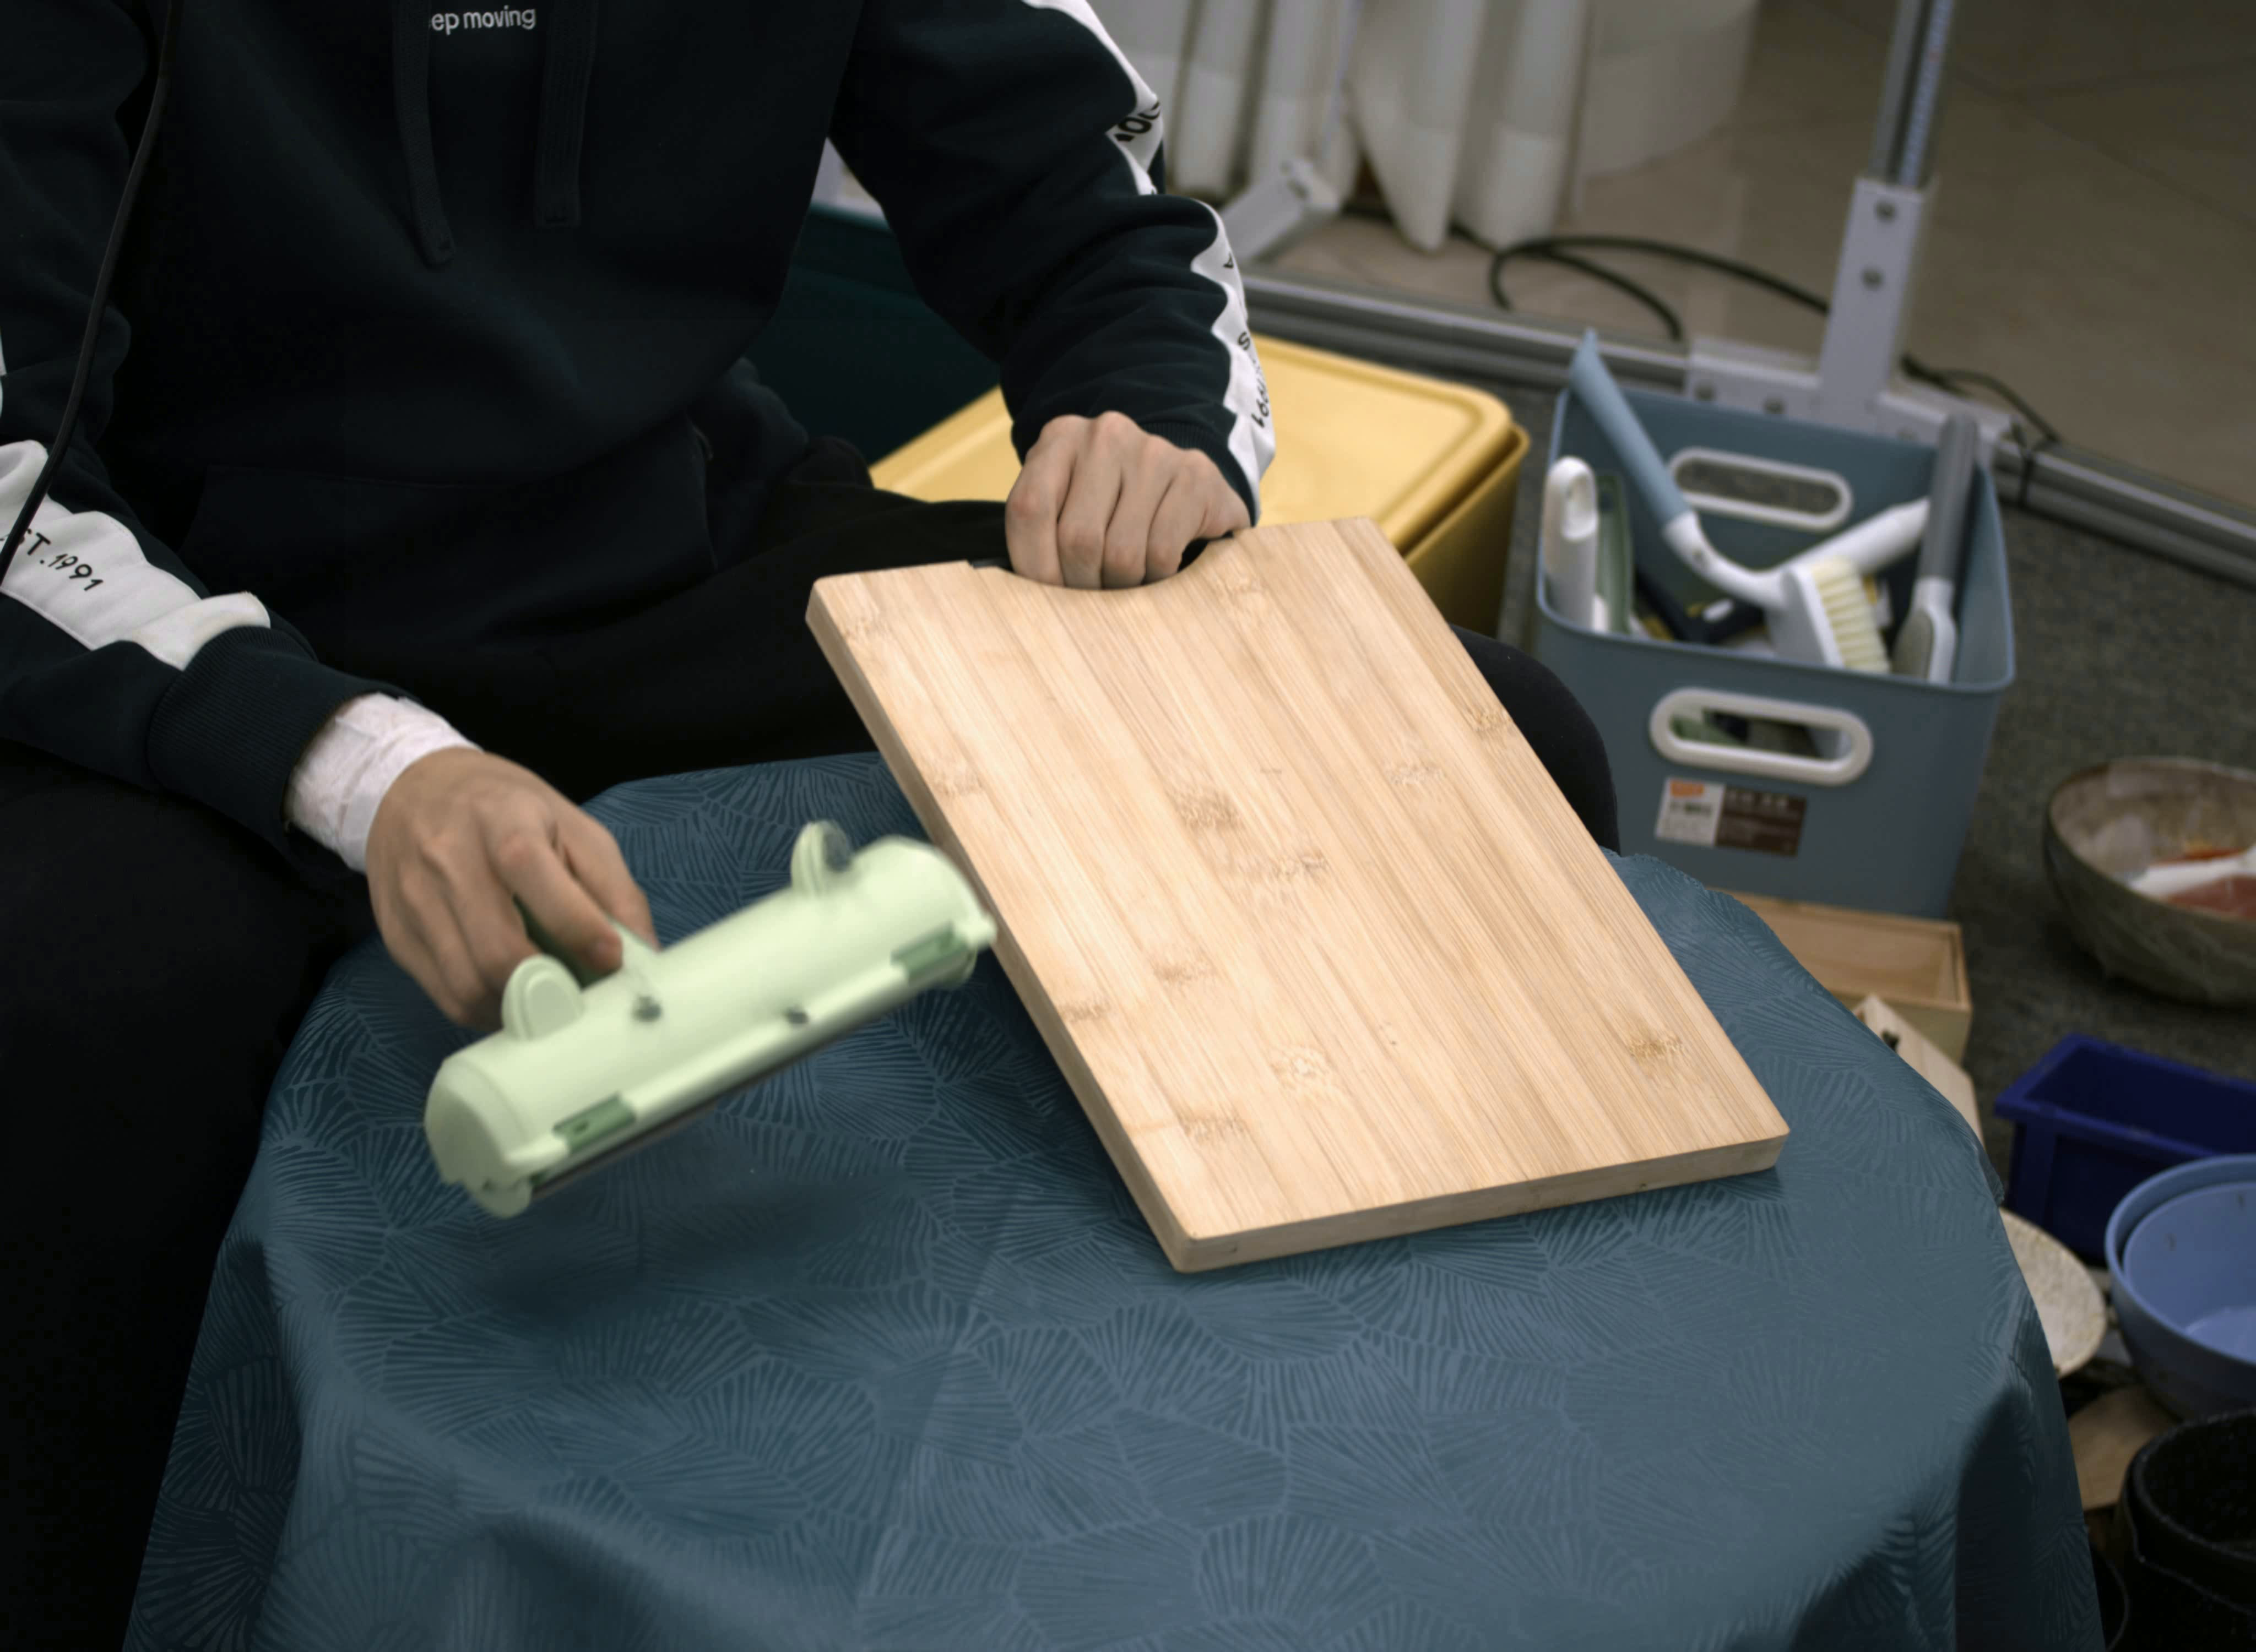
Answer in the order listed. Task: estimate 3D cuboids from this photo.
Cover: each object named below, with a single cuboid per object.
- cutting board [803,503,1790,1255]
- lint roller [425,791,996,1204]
[{"bbox_3d":[0.054,0.011,1.913,0.249,0.023,0.352,-8,46,-27],"label":"cutting board"},{"bbox_3d":[-0.171,0.030,1.748,0.198,0.082,0.185,-29,41,-31],"label":"lint roller"}]
